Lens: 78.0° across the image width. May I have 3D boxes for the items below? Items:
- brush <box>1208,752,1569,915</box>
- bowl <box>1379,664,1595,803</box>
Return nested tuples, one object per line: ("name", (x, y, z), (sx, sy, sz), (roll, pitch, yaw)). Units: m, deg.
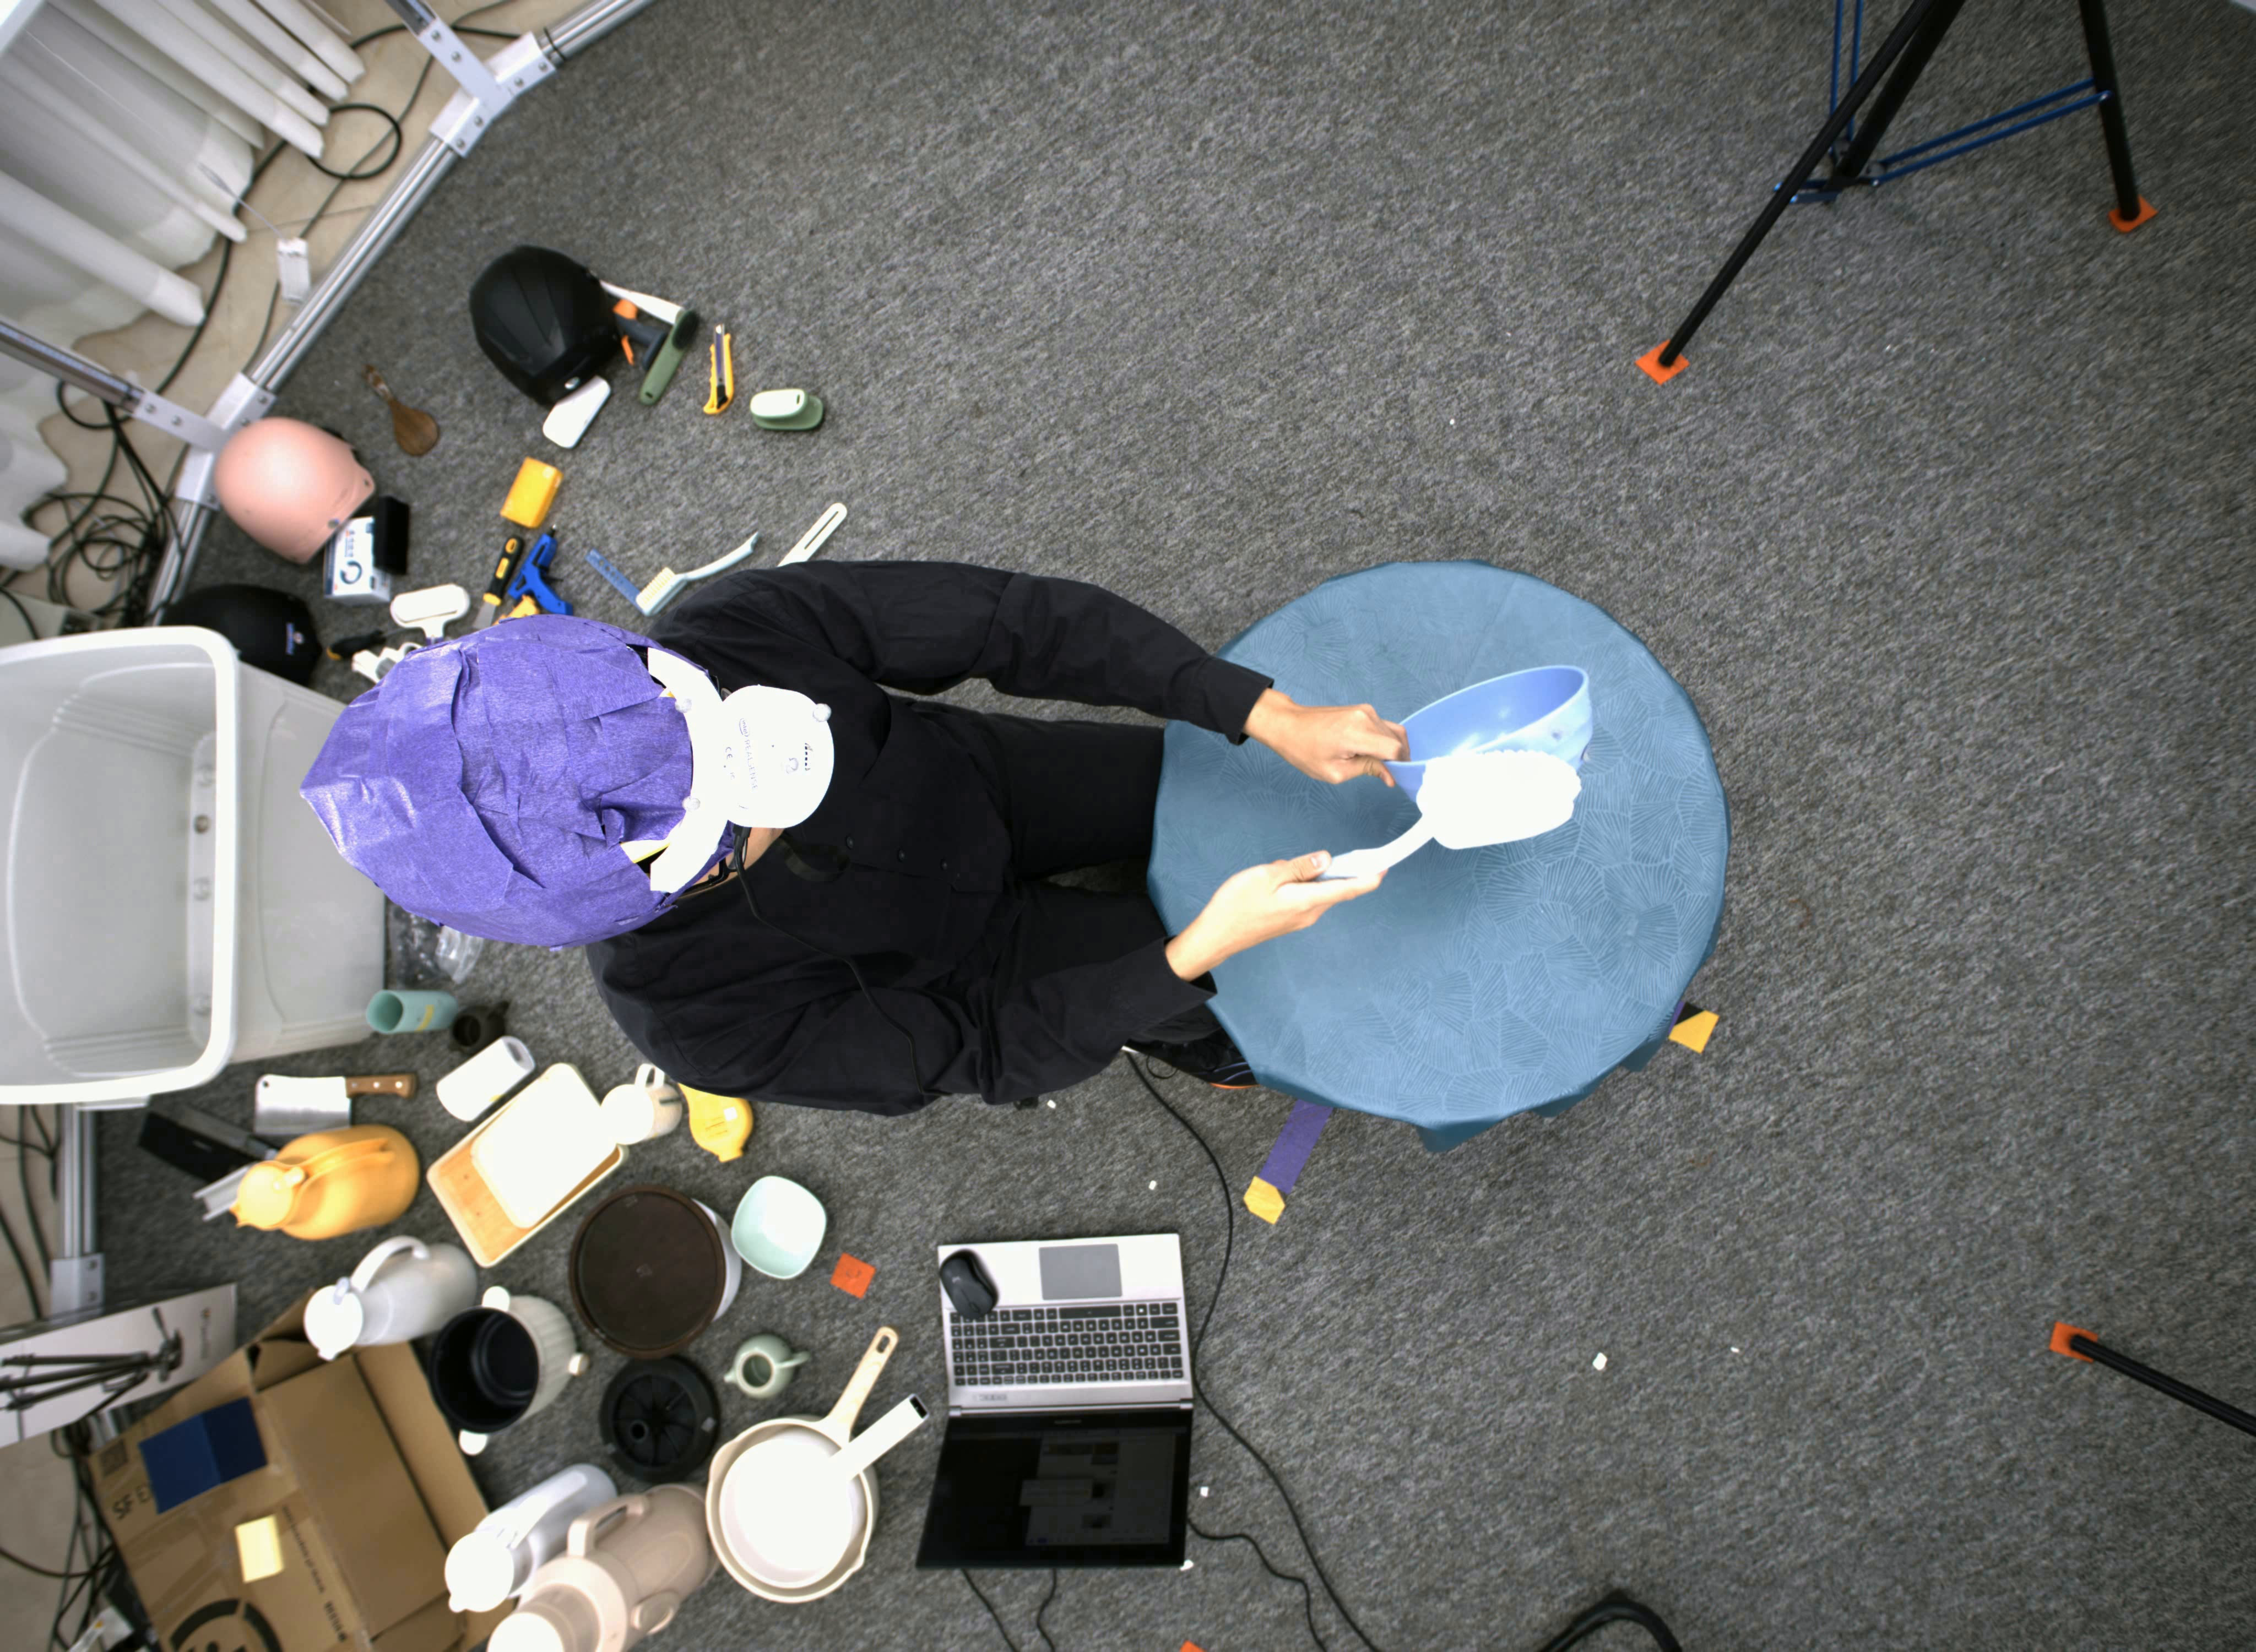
("brush", (0.215, -0.002, 1.180), (0.330, 0.083, 0.083), (-18, 87, 28))
("bowl", (0.335, -0.062, 1.236), (0.197, 0.193, 0.096), (-25, 105, 7))
